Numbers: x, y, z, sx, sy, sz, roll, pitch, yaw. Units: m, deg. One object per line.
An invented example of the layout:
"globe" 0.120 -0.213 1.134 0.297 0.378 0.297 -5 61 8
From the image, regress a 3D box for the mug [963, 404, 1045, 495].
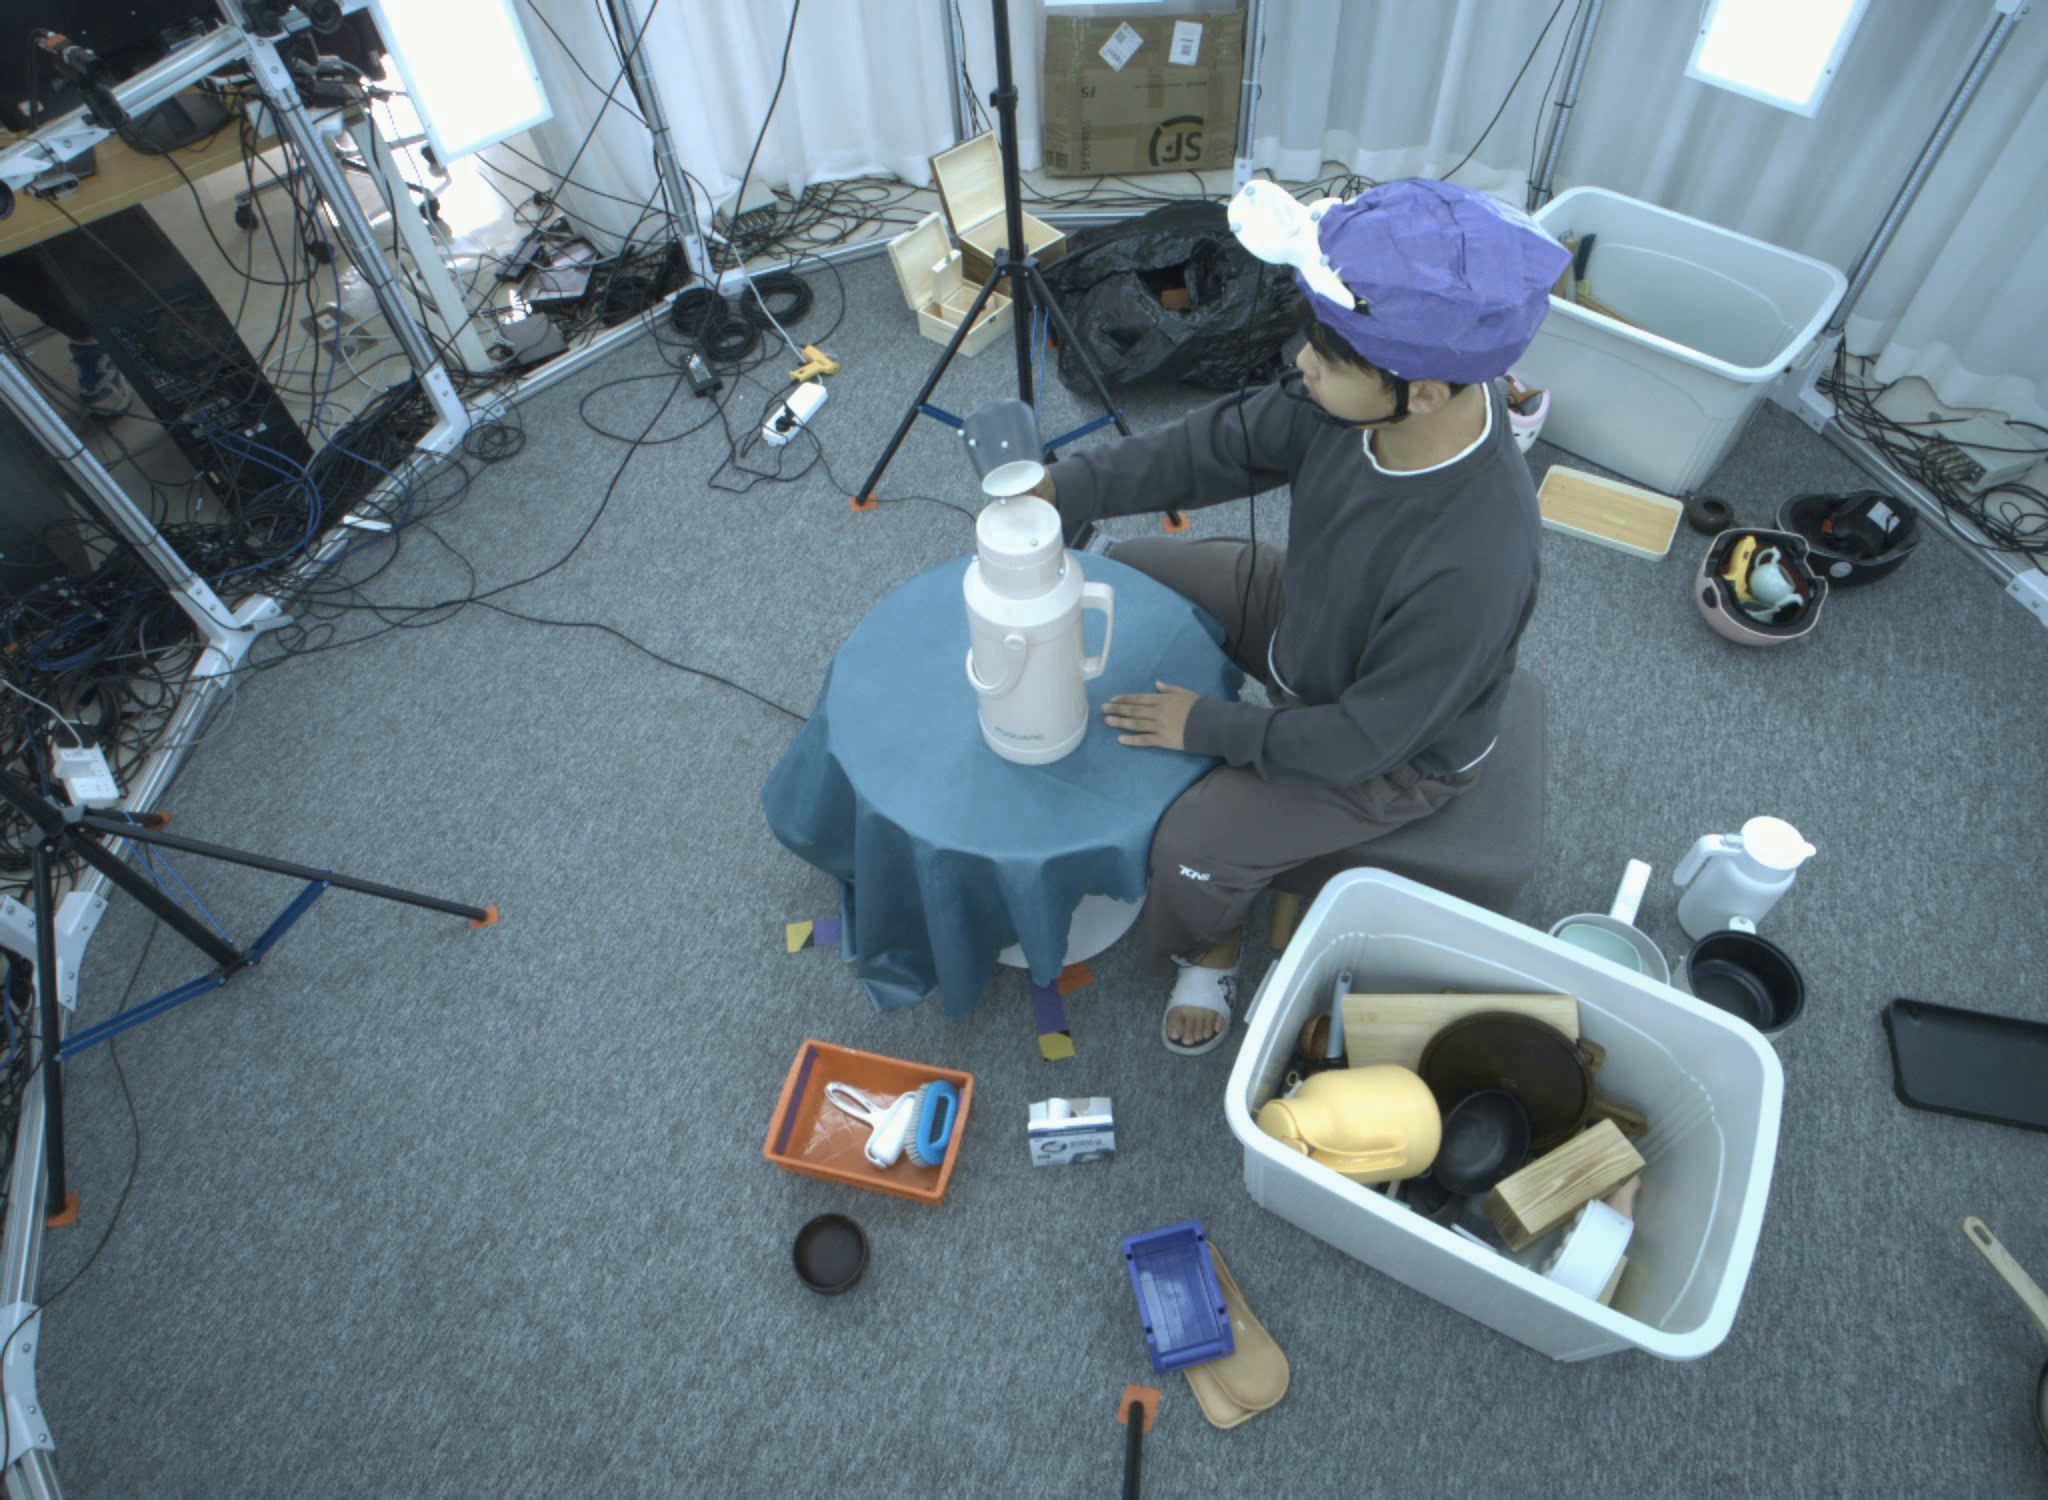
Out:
"mug" -0.023 -0.364 1.491 0.093 0.124 0.089 -15 75 1

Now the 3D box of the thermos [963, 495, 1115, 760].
"thermos" 0.018 -0.159 1.655 0.206 0.411 0.174 3 55 6
